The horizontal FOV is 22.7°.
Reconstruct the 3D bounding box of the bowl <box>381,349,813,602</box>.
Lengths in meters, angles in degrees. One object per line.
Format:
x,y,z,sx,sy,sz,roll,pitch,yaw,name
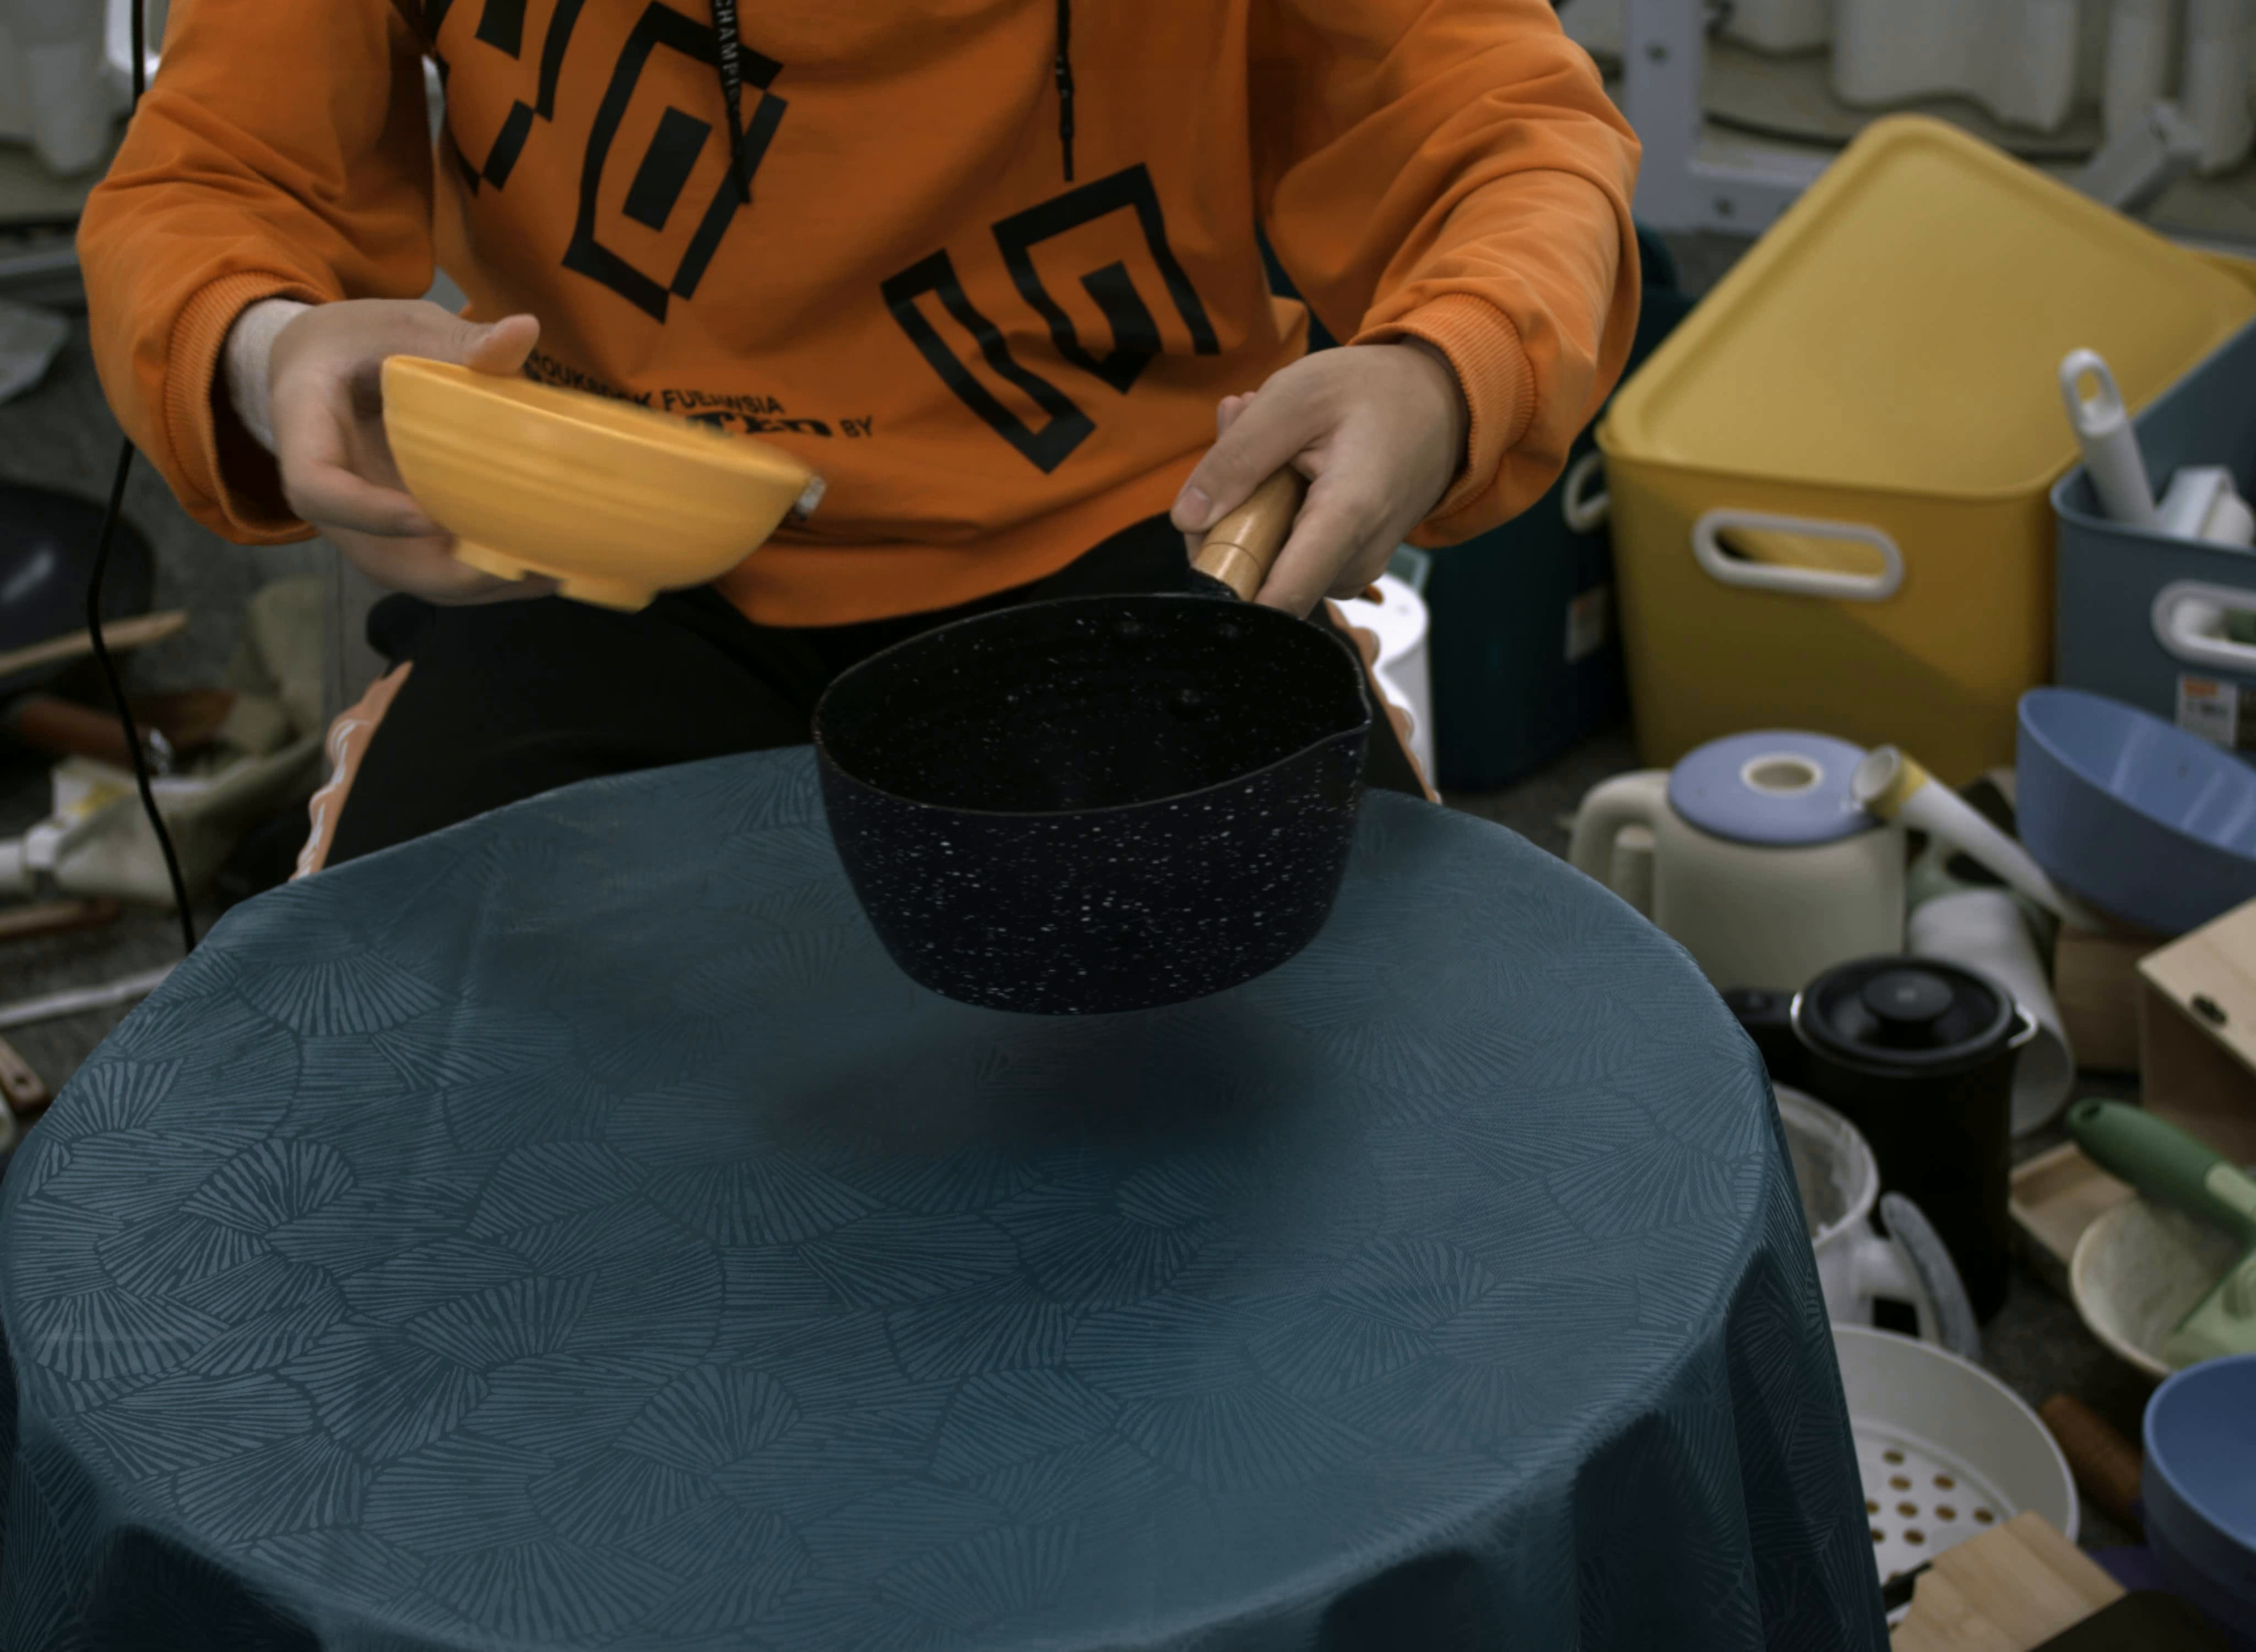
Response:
-0.179,-0.110,1.845,0.145,0.060,0.146,13,6,-1,bowl

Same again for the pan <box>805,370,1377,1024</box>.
0.014,-0.048,1.955,0.206,0.107,0.348,2,26,20,pan
